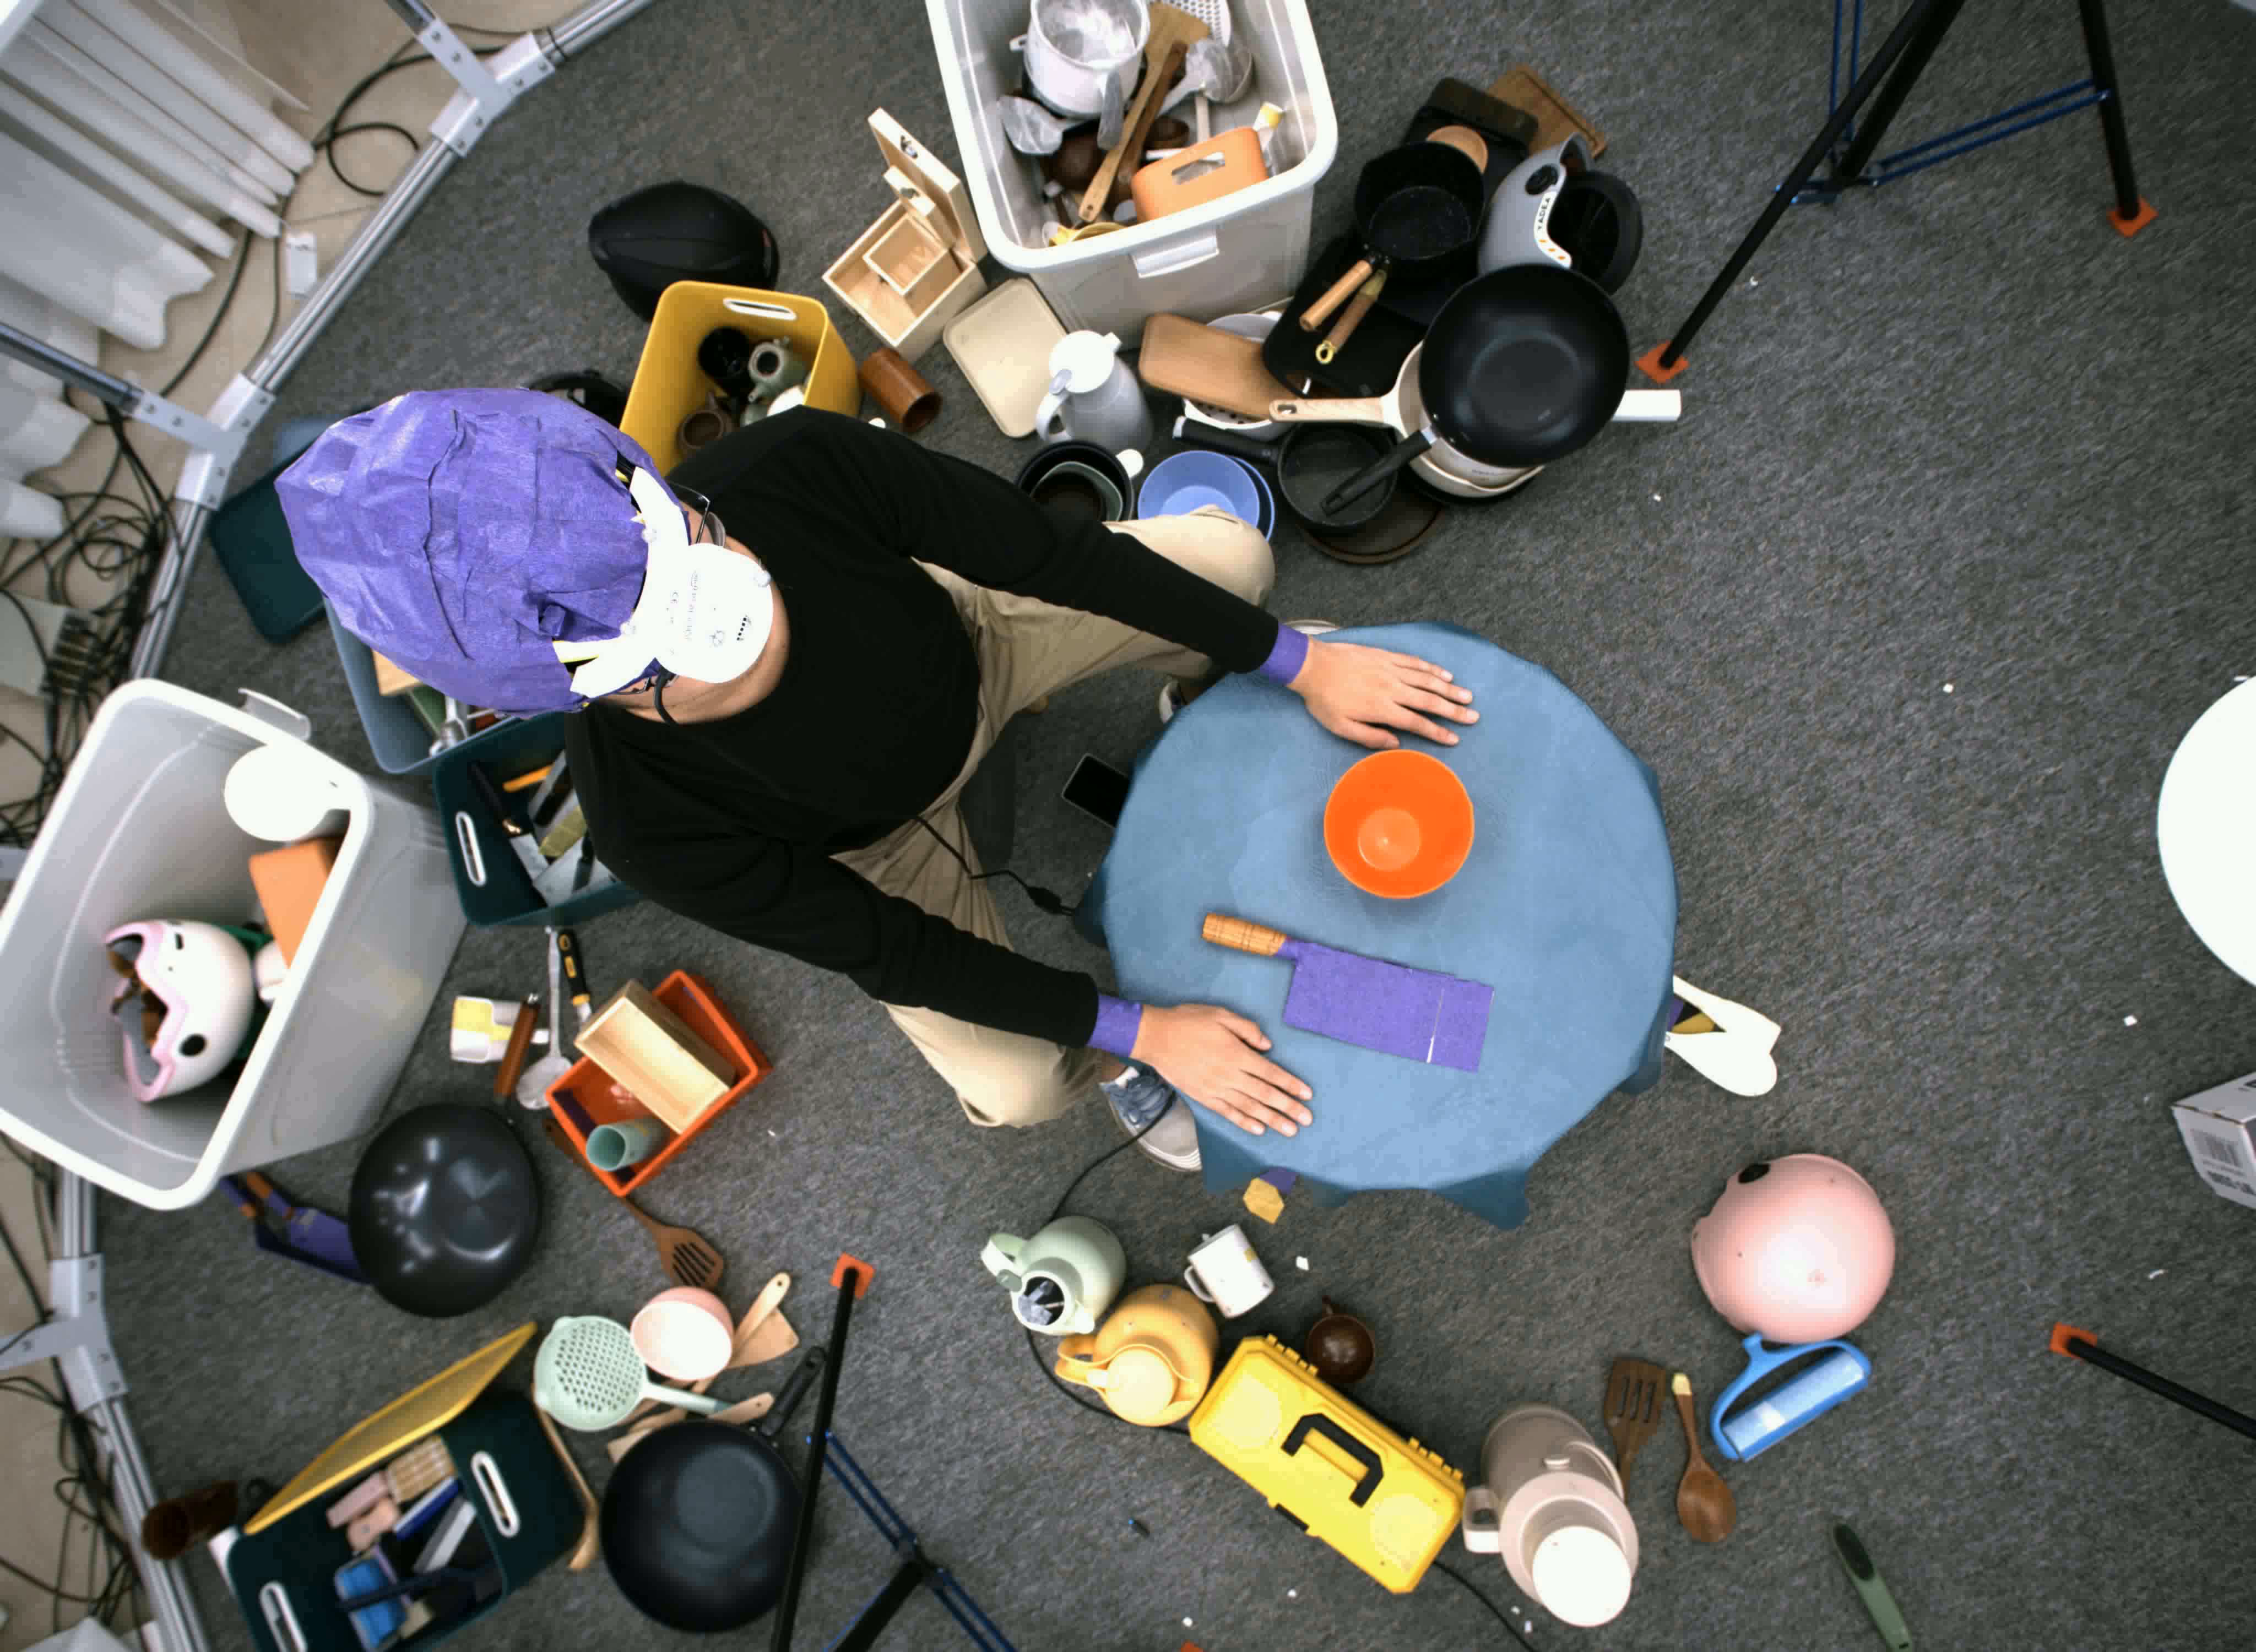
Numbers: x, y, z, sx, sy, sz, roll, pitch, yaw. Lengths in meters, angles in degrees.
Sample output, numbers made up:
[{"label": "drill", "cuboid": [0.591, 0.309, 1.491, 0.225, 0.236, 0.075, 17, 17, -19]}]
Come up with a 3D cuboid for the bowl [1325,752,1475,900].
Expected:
[{"label": "bowl", "cuboid": [0.276, 0.002, 1.412, 0.148, 0.104, 0.147, 0, 88, 10]}]

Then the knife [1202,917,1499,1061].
[{"label": "knife", "cuboid": [0.224, 0.172, 1.452, 0.316, 0.032, 0.103, 13, 89, 11]}]
